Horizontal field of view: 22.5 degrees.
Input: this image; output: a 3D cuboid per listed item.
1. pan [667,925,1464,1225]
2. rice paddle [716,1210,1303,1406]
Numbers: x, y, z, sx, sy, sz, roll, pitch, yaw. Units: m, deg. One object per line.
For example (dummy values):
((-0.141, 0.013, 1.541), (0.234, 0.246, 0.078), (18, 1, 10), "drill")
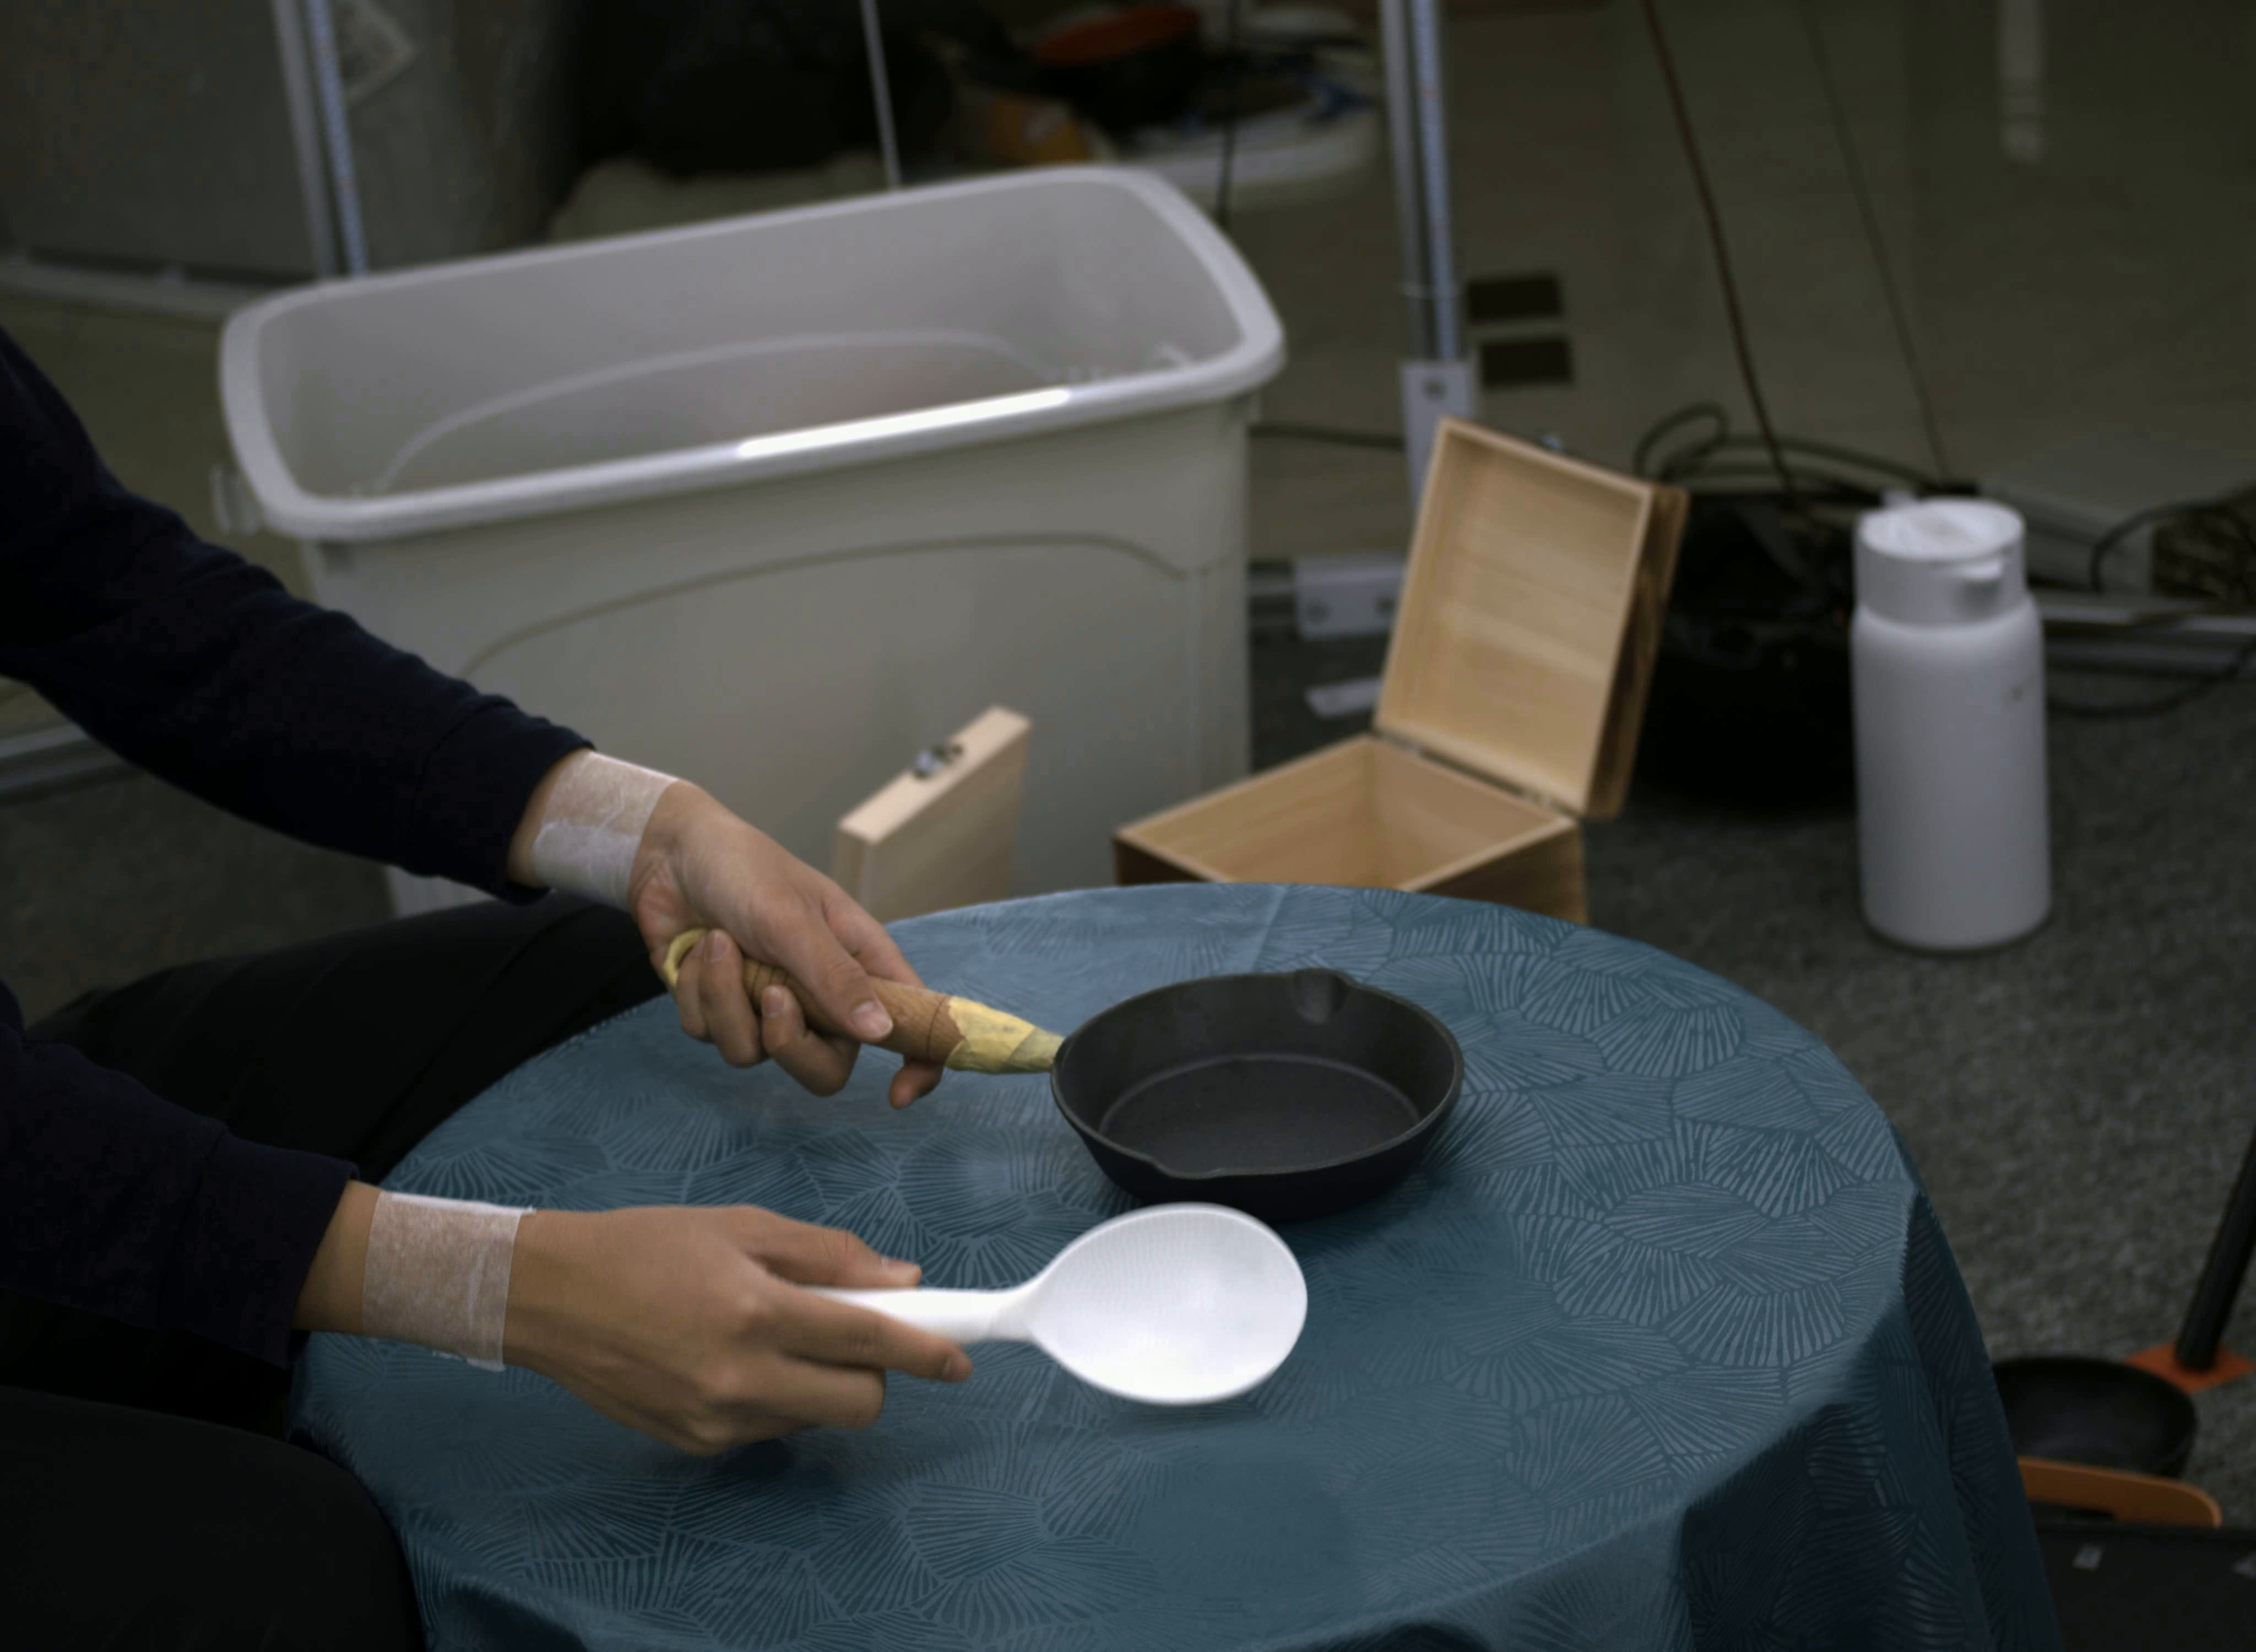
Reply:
((-0.029, 0.087, 2.182), (0.323, 0.050, 0.166), (10, 30, 20), "pan")
((-0.041, 0.172, 1.985), (0.205, 0.069, 0.029), (-4, 2, 1), "rice paddle")
